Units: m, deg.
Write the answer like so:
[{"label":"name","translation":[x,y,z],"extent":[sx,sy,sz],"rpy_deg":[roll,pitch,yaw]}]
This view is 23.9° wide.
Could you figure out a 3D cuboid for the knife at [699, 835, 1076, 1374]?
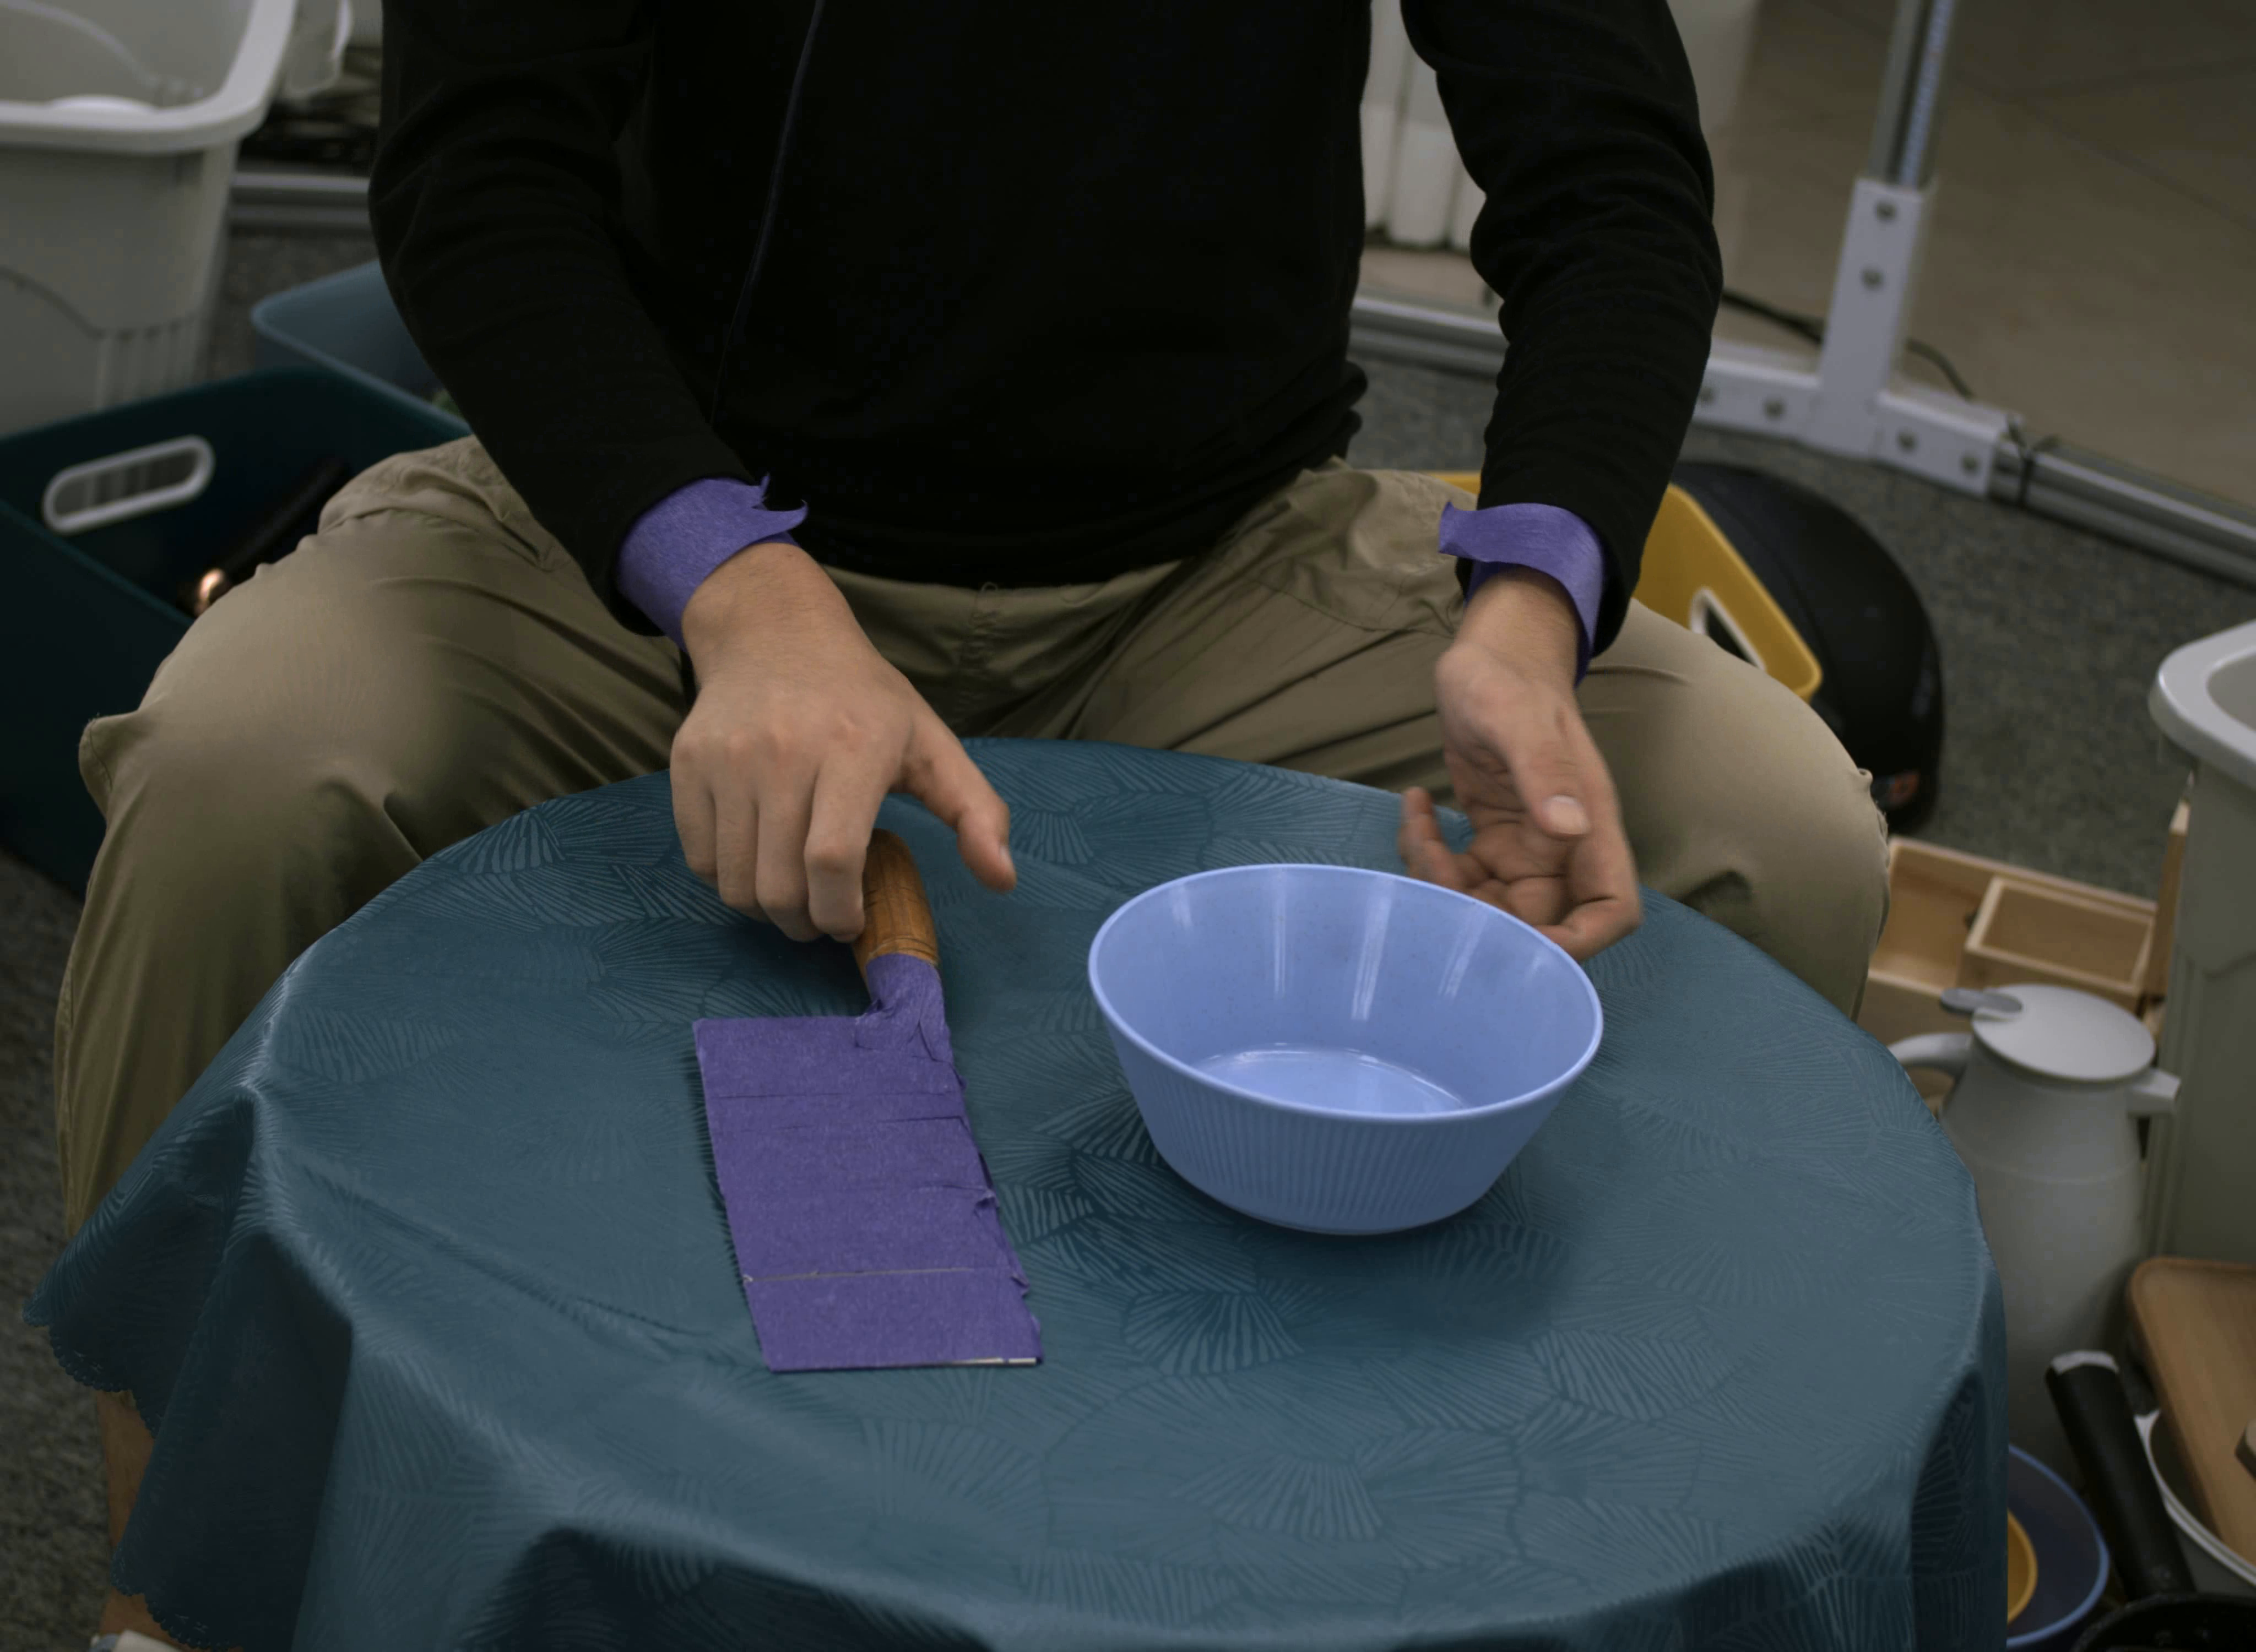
[{"label":"knife","translation":[-0.096,0.090,1.820],"extent":[0.103,0.032,0.318],"rpy_deg":[0,28,-13]}]

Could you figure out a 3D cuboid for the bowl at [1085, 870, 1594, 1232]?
[{"label":"bowl","translation":[0.068,0.083,1.823],"extent":[0.175,0.070,0.177],"rpy_deg":[6,26,-3]}]
